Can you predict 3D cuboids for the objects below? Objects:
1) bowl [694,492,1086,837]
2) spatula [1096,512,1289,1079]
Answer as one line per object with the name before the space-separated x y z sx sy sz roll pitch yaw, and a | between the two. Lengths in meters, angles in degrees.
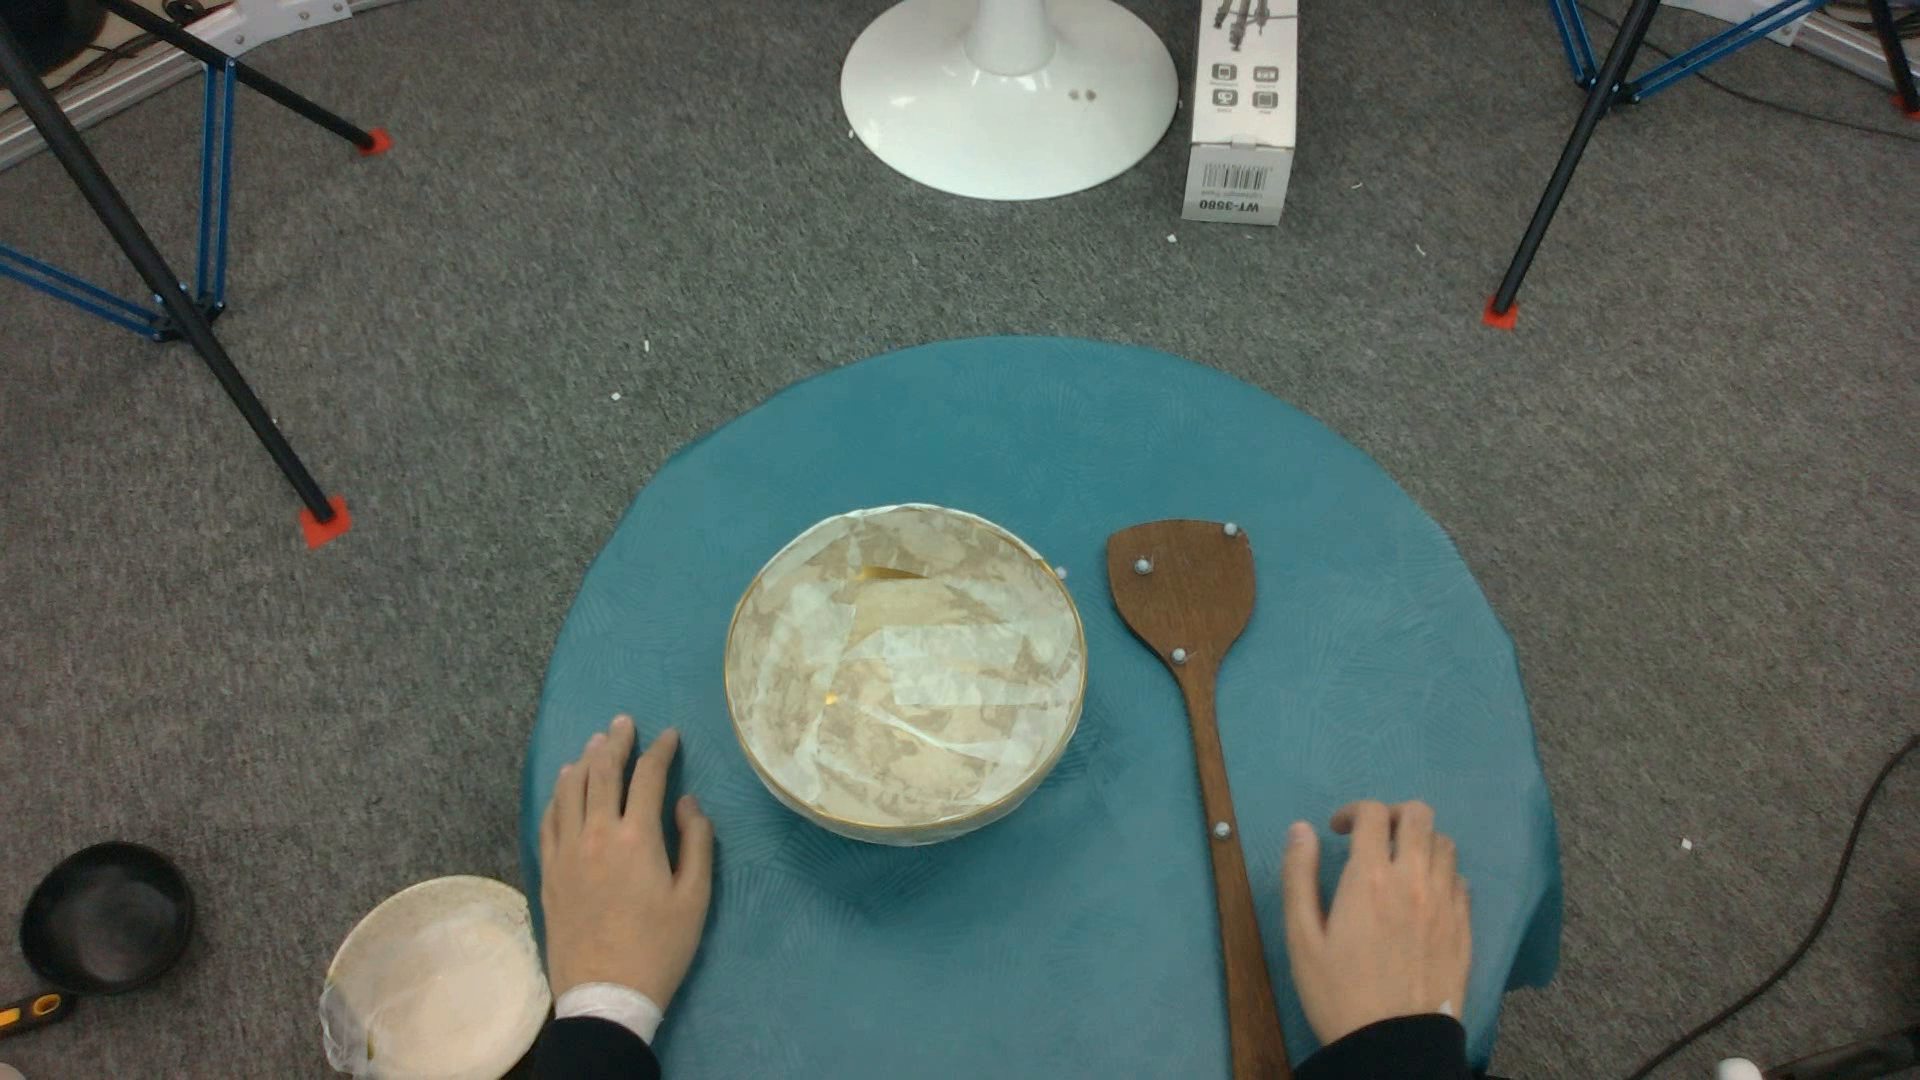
bowl | -0.037 0.083 0.783 0.215 0.094 0.215 1 57 -2
spatula | 0.144 0.145 0.791 0.096 0.016 0.387 -3 56 -2
